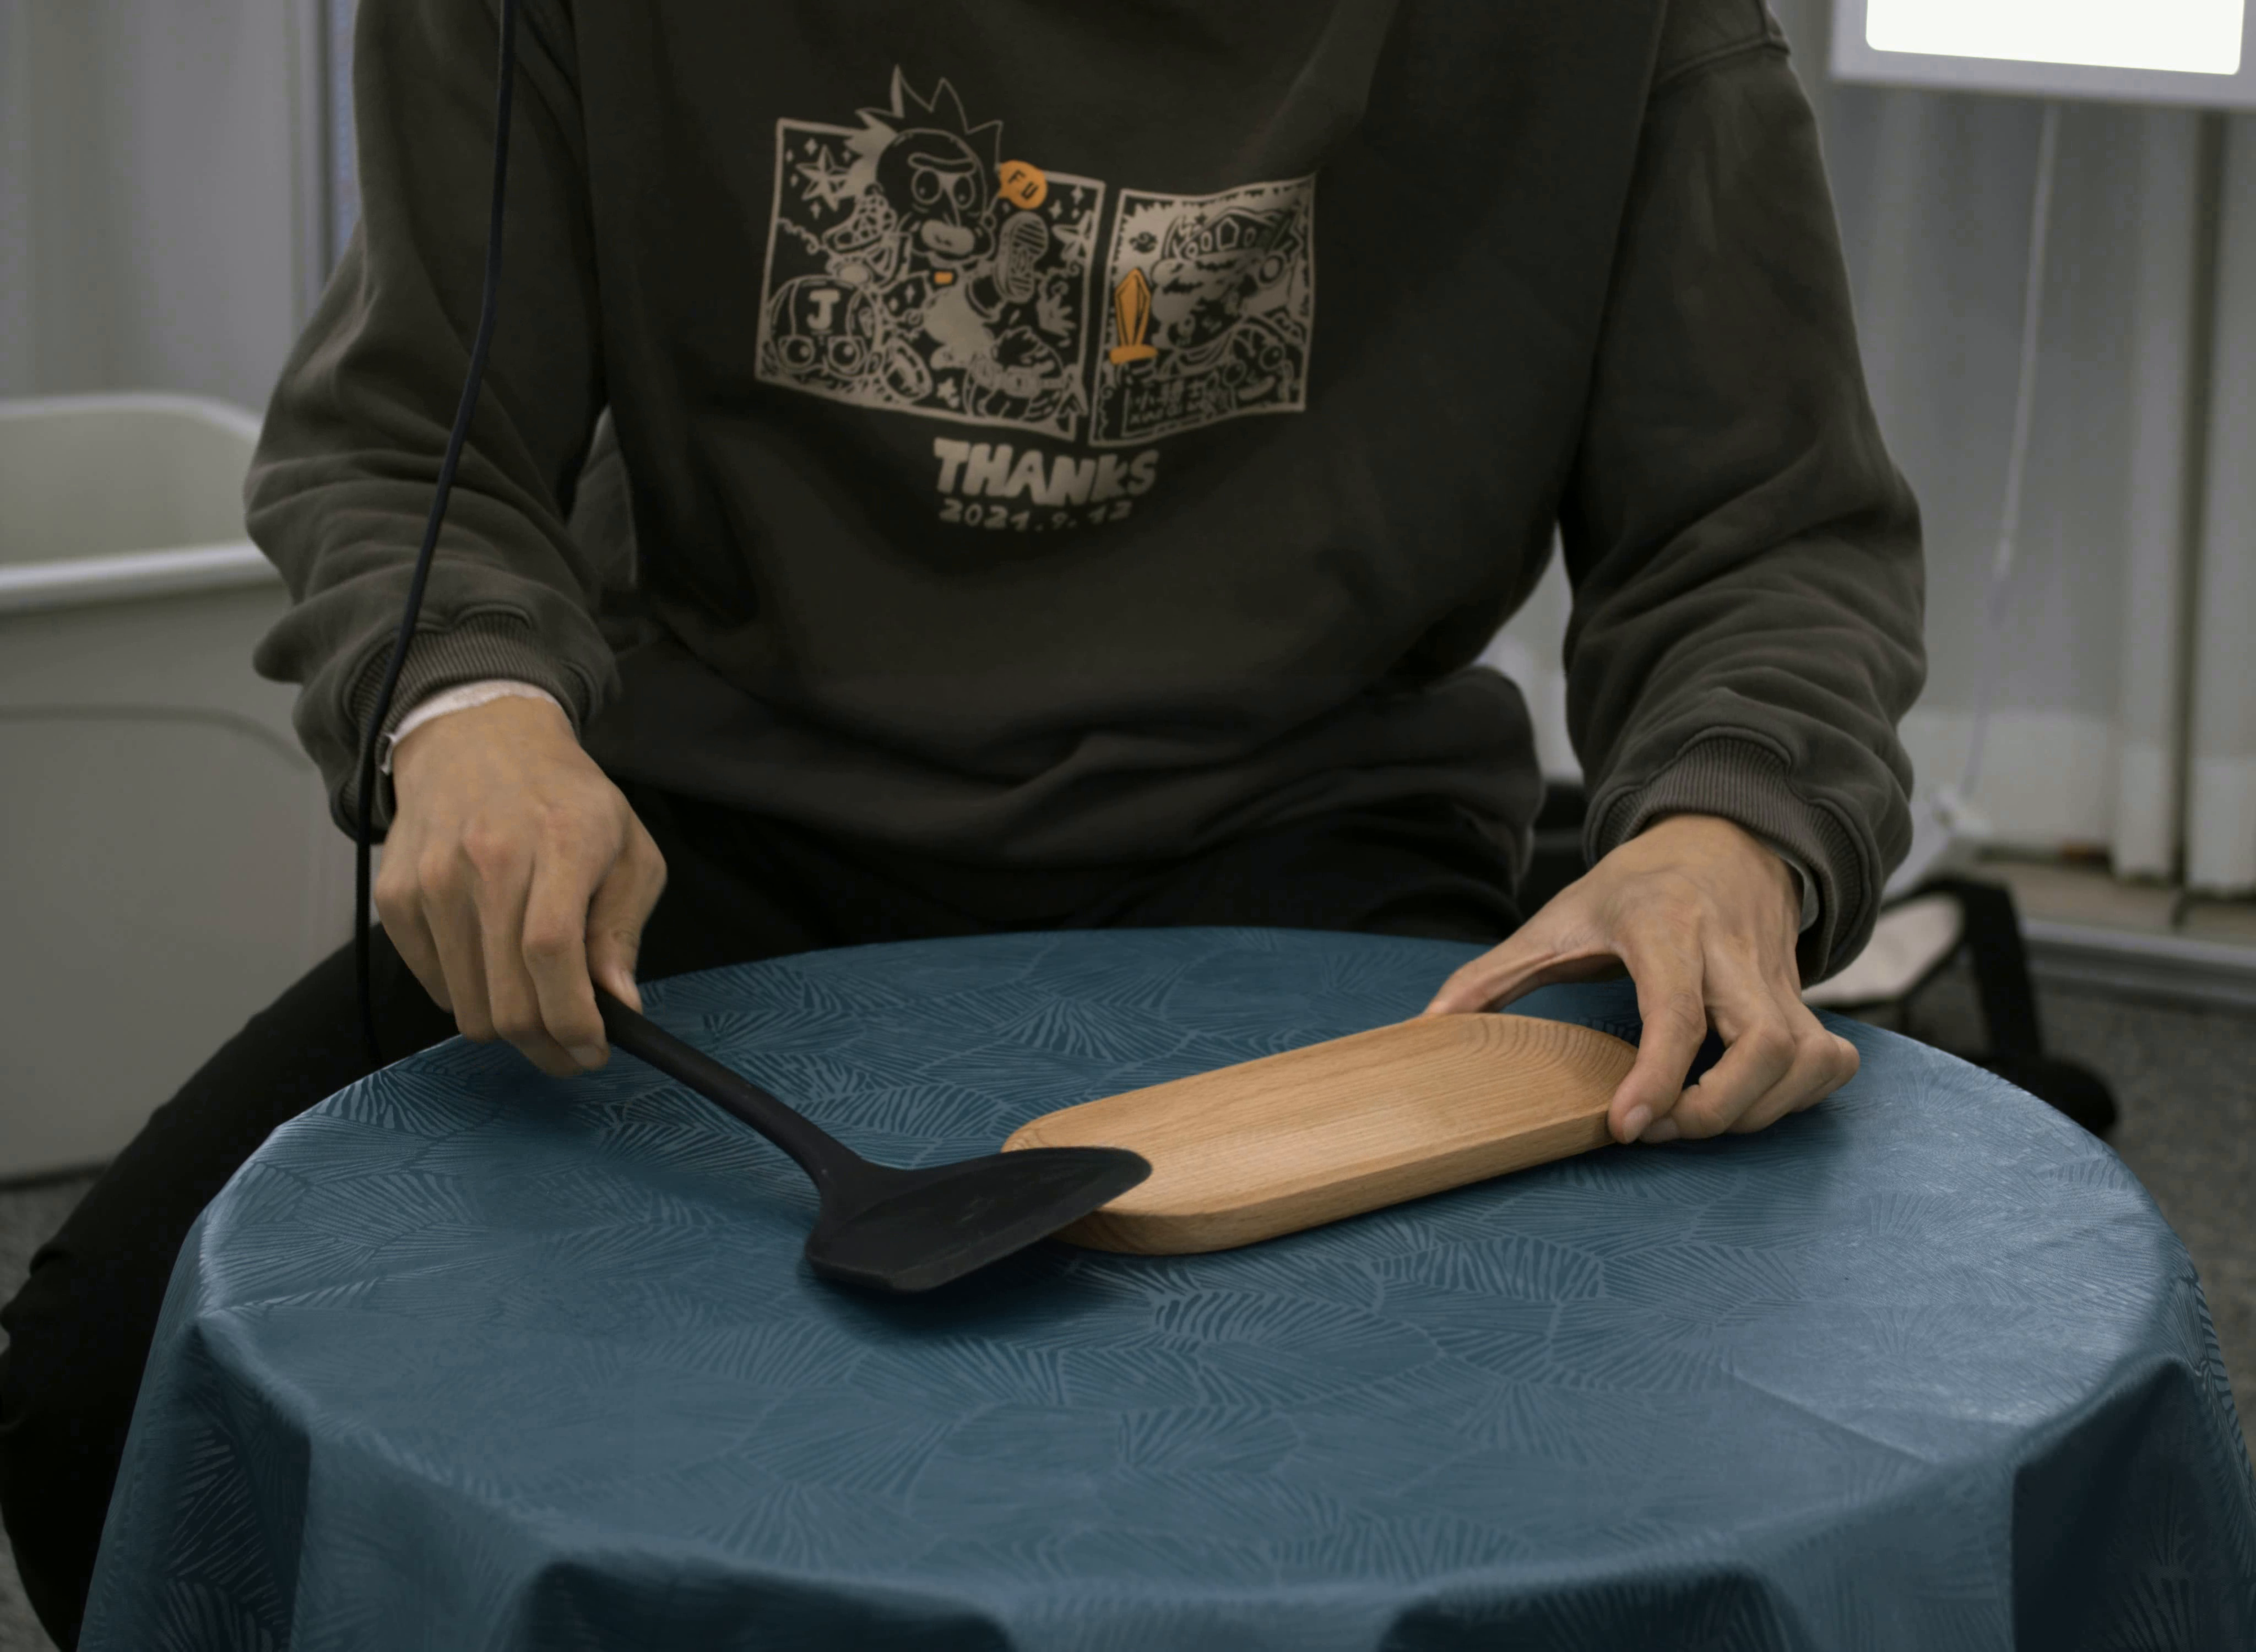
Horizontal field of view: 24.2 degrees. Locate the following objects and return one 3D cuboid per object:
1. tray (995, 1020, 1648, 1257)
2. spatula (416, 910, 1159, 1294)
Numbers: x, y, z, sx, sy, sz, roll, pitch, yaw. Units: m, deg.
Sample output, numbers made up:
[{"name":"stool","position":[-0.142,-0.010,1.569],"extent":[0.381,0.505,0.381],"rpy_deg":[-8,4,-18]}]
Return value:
[{"name":"tray","position":[0.063,0.097,1.651],"extent":[0.232,0.020,0.100],"rpy_deg":[-13,21,-34]},{"name":"spatula","position":[-0.127,0.076,1.635],"extent":[0.100,0.041,0.321],"rpy_deg":[-24,37,-36]}]
